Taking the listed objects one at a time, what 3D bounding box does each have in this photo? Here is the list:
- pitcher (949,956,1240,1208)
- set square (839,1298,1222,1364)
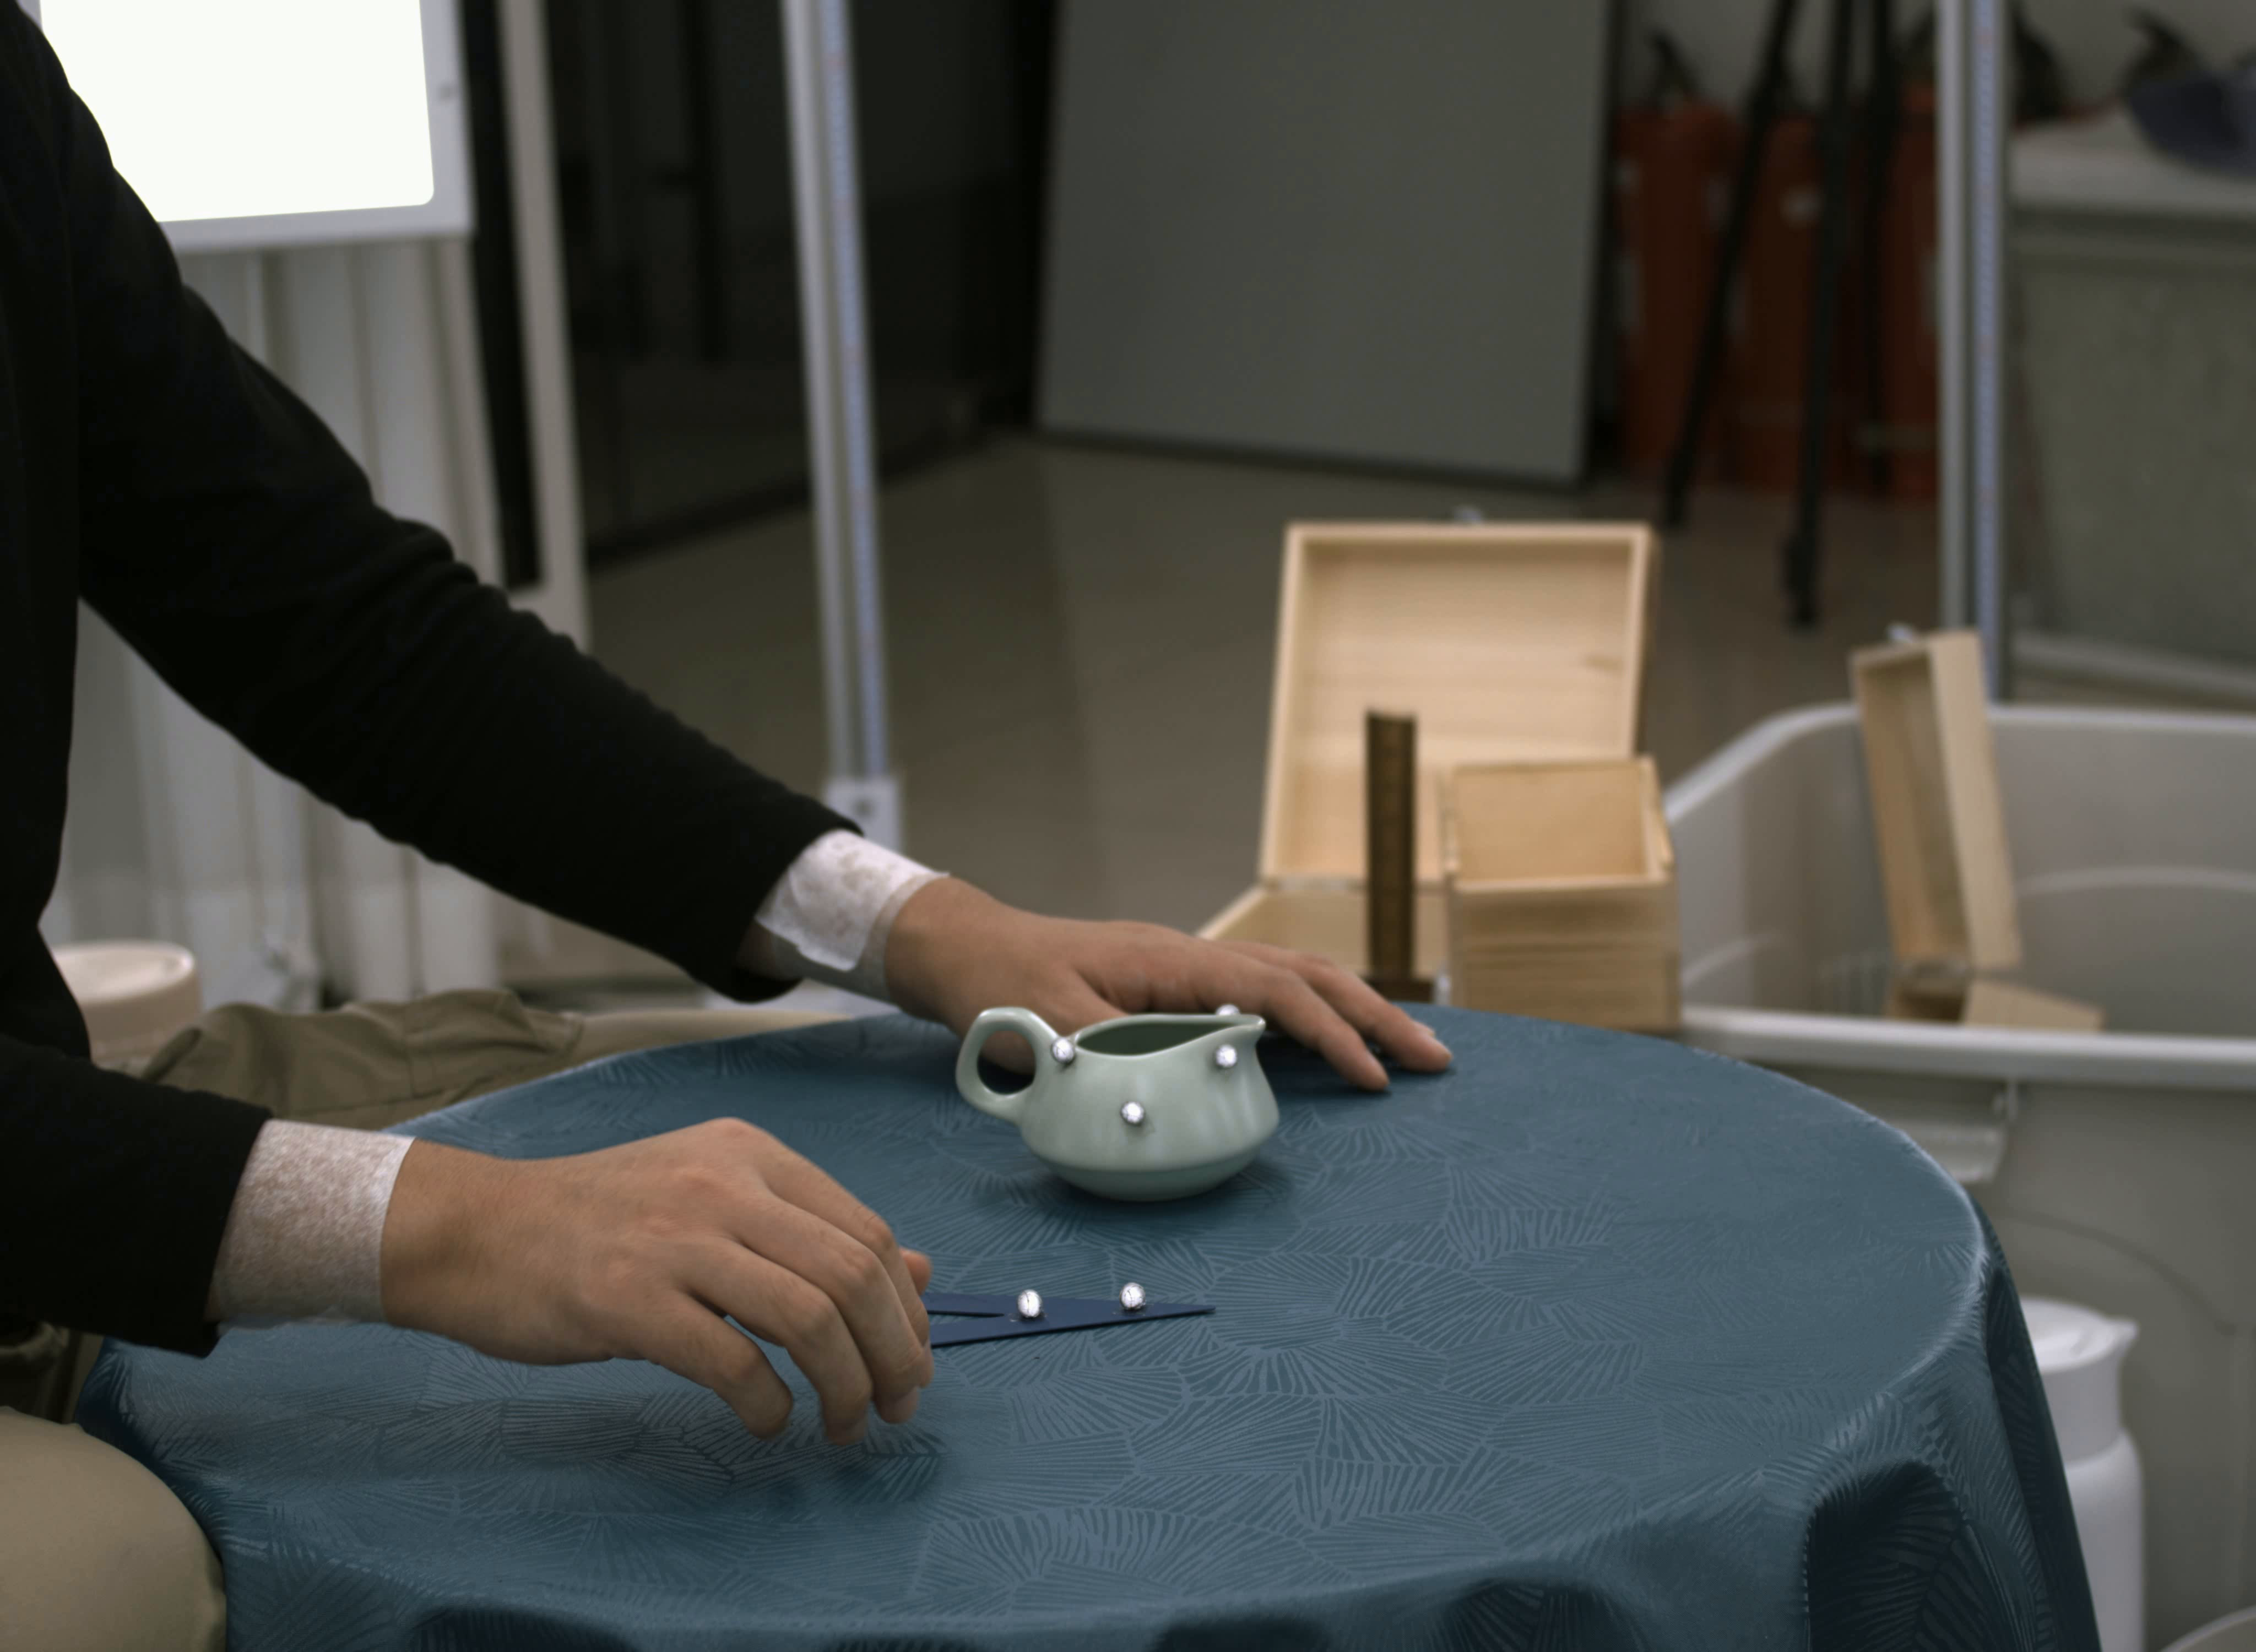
[{"bbox_3d":[-0.014,0.084,1.781,0.108,0.061,0.085,22,34,23],"label":"pitcher"},{"bbox_3d":[-0.039,0.155,1.636,0.132,0.006,0.060,2,14,23],"label":"set square"}]
